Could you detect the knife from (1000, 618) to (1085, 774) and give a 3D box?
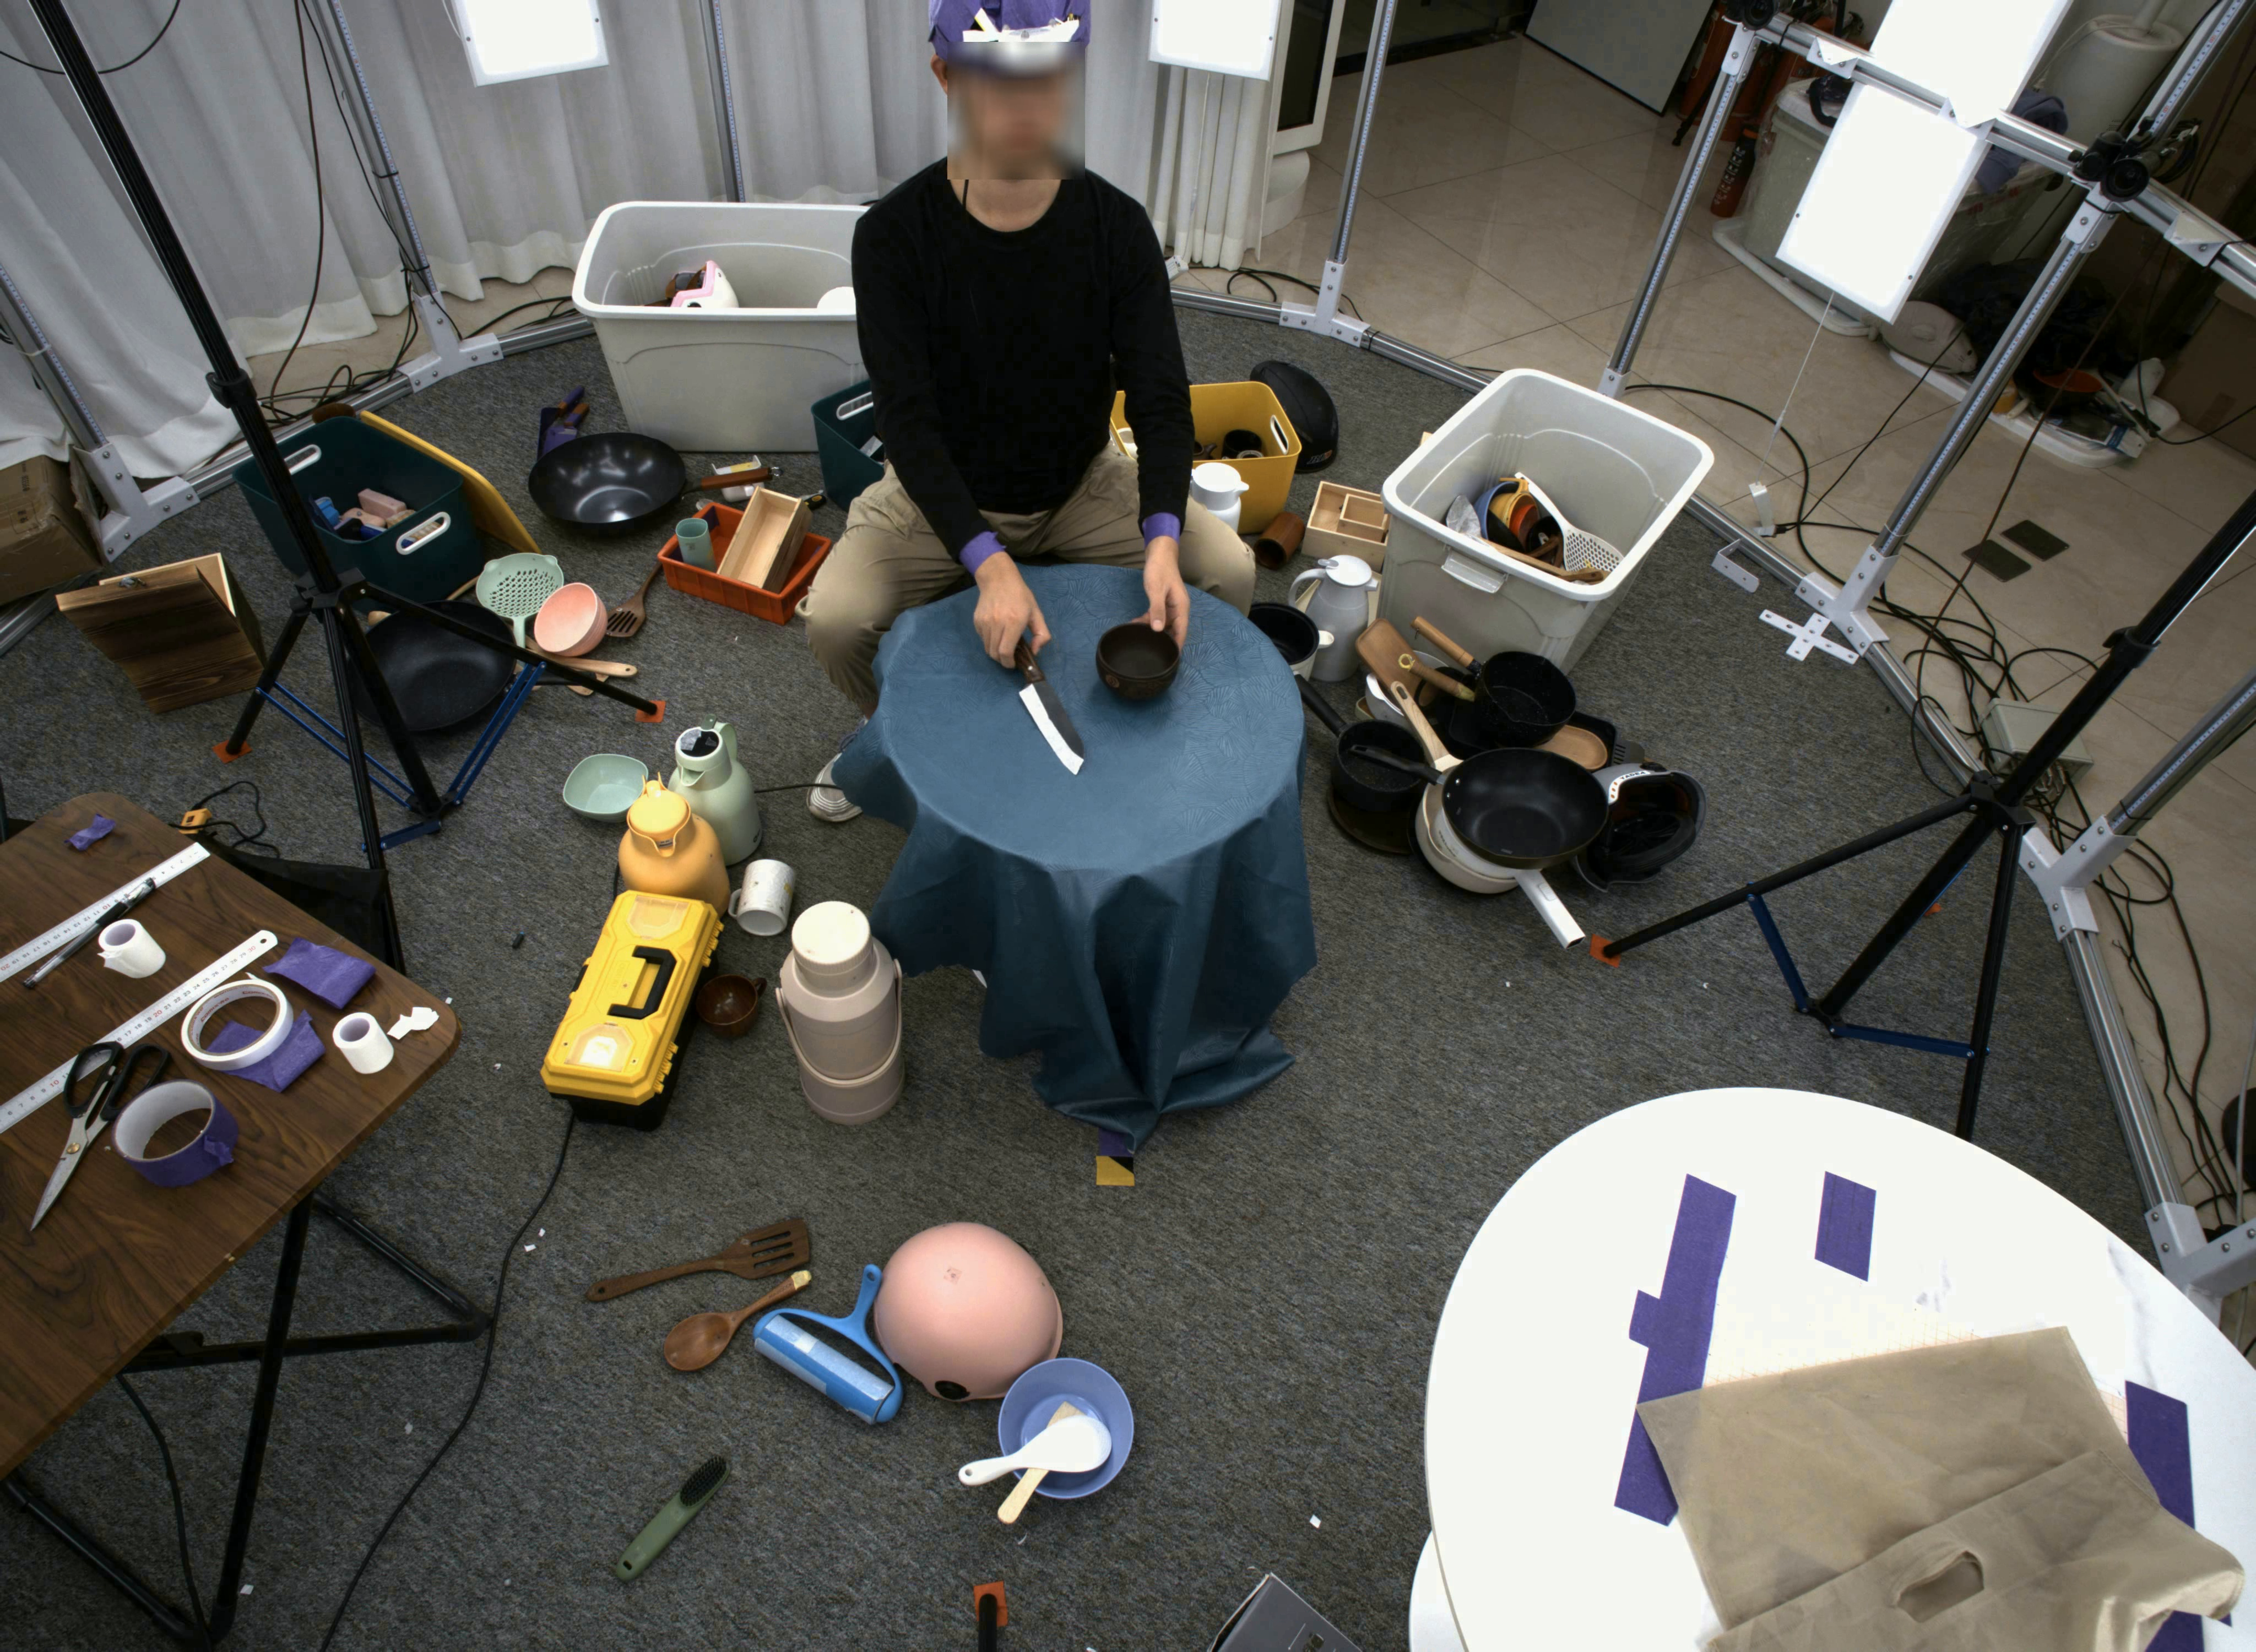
[{"bbox_3d":[-0.121,-0.184,1.799,0.050,0.019,0.295,-31,58,7],"label":"knife"}]

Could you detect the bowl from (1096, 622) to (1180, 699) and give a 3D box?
[{"bbox_3d":[0.013,-0.227,1.820,0.118,0.068,0.121,2,49,-2],"label":"bowl"}]
